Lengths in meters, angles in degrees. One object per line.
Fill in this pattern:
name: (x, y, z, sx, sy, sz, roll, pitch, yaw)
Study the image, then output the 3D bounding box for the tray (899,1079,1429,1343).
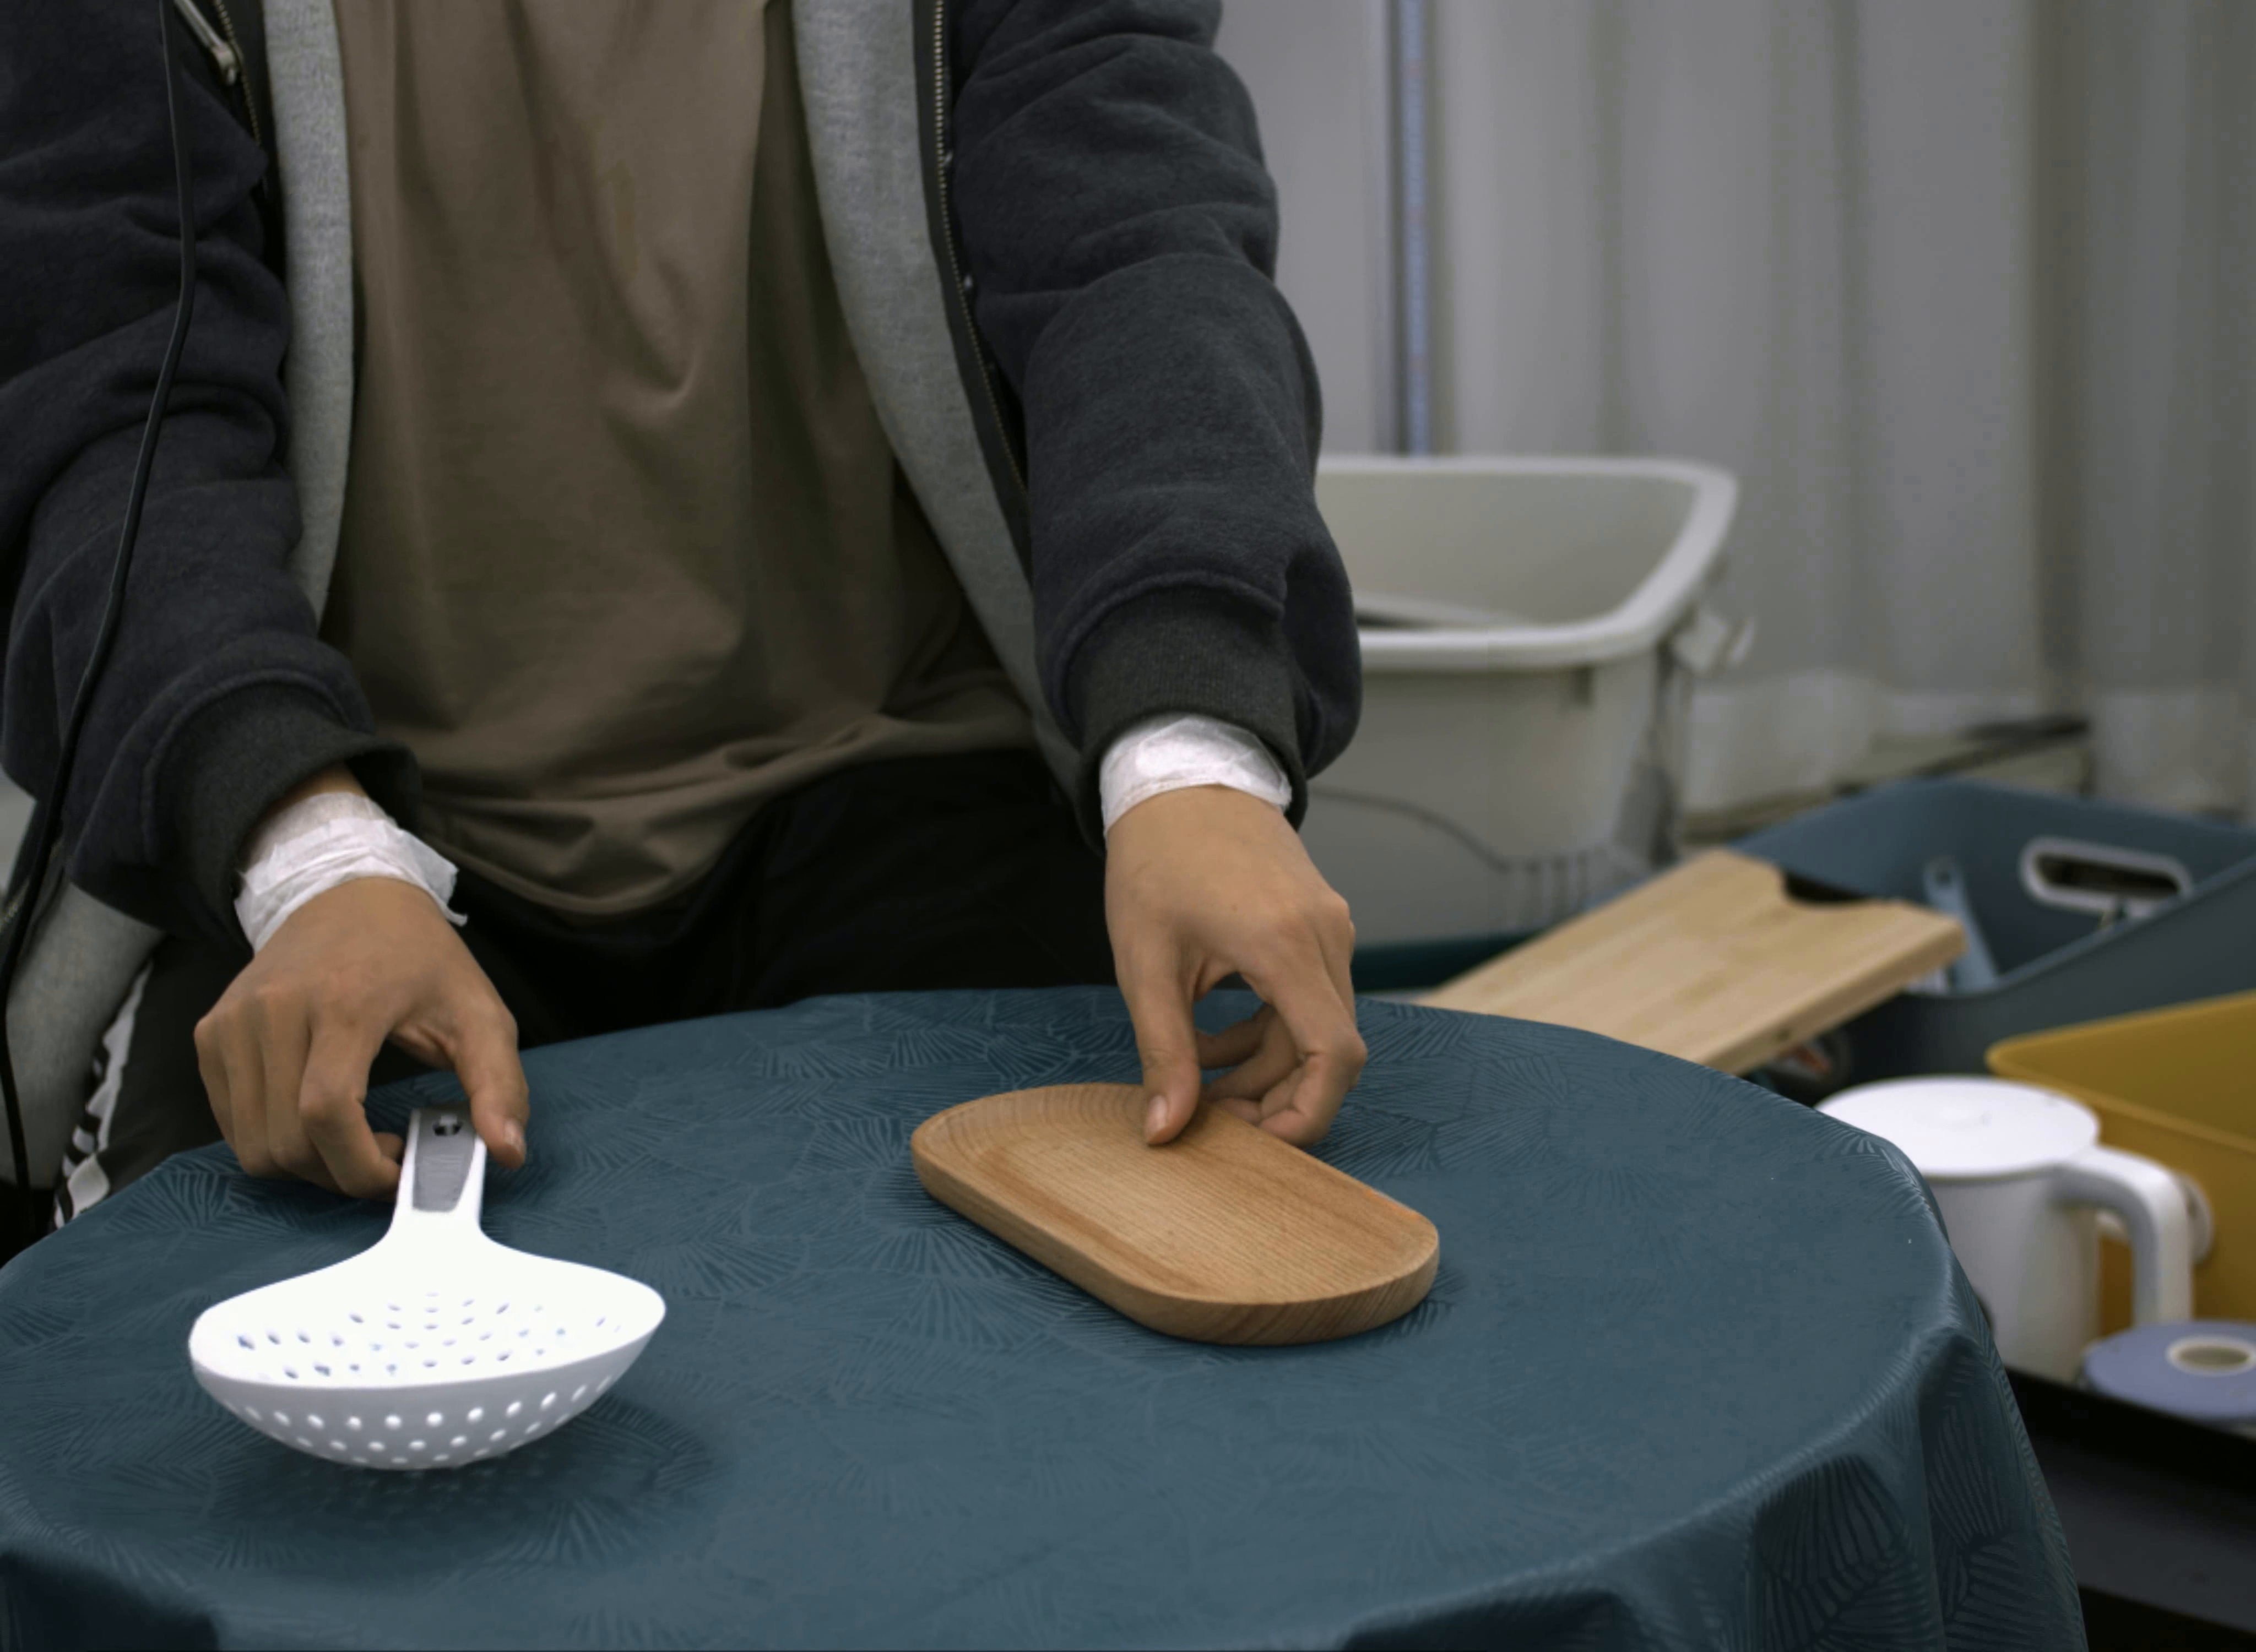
tray: (0.009, 0.116, 1.677, 0.101, 0.020, 0.233, -9, 15, -26)

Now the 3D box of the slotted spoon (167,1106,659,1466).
slotted spoon: (-0.208, 0.127, 1.623, 0.135, 0.045, 0.352, -2, 14, -5)
